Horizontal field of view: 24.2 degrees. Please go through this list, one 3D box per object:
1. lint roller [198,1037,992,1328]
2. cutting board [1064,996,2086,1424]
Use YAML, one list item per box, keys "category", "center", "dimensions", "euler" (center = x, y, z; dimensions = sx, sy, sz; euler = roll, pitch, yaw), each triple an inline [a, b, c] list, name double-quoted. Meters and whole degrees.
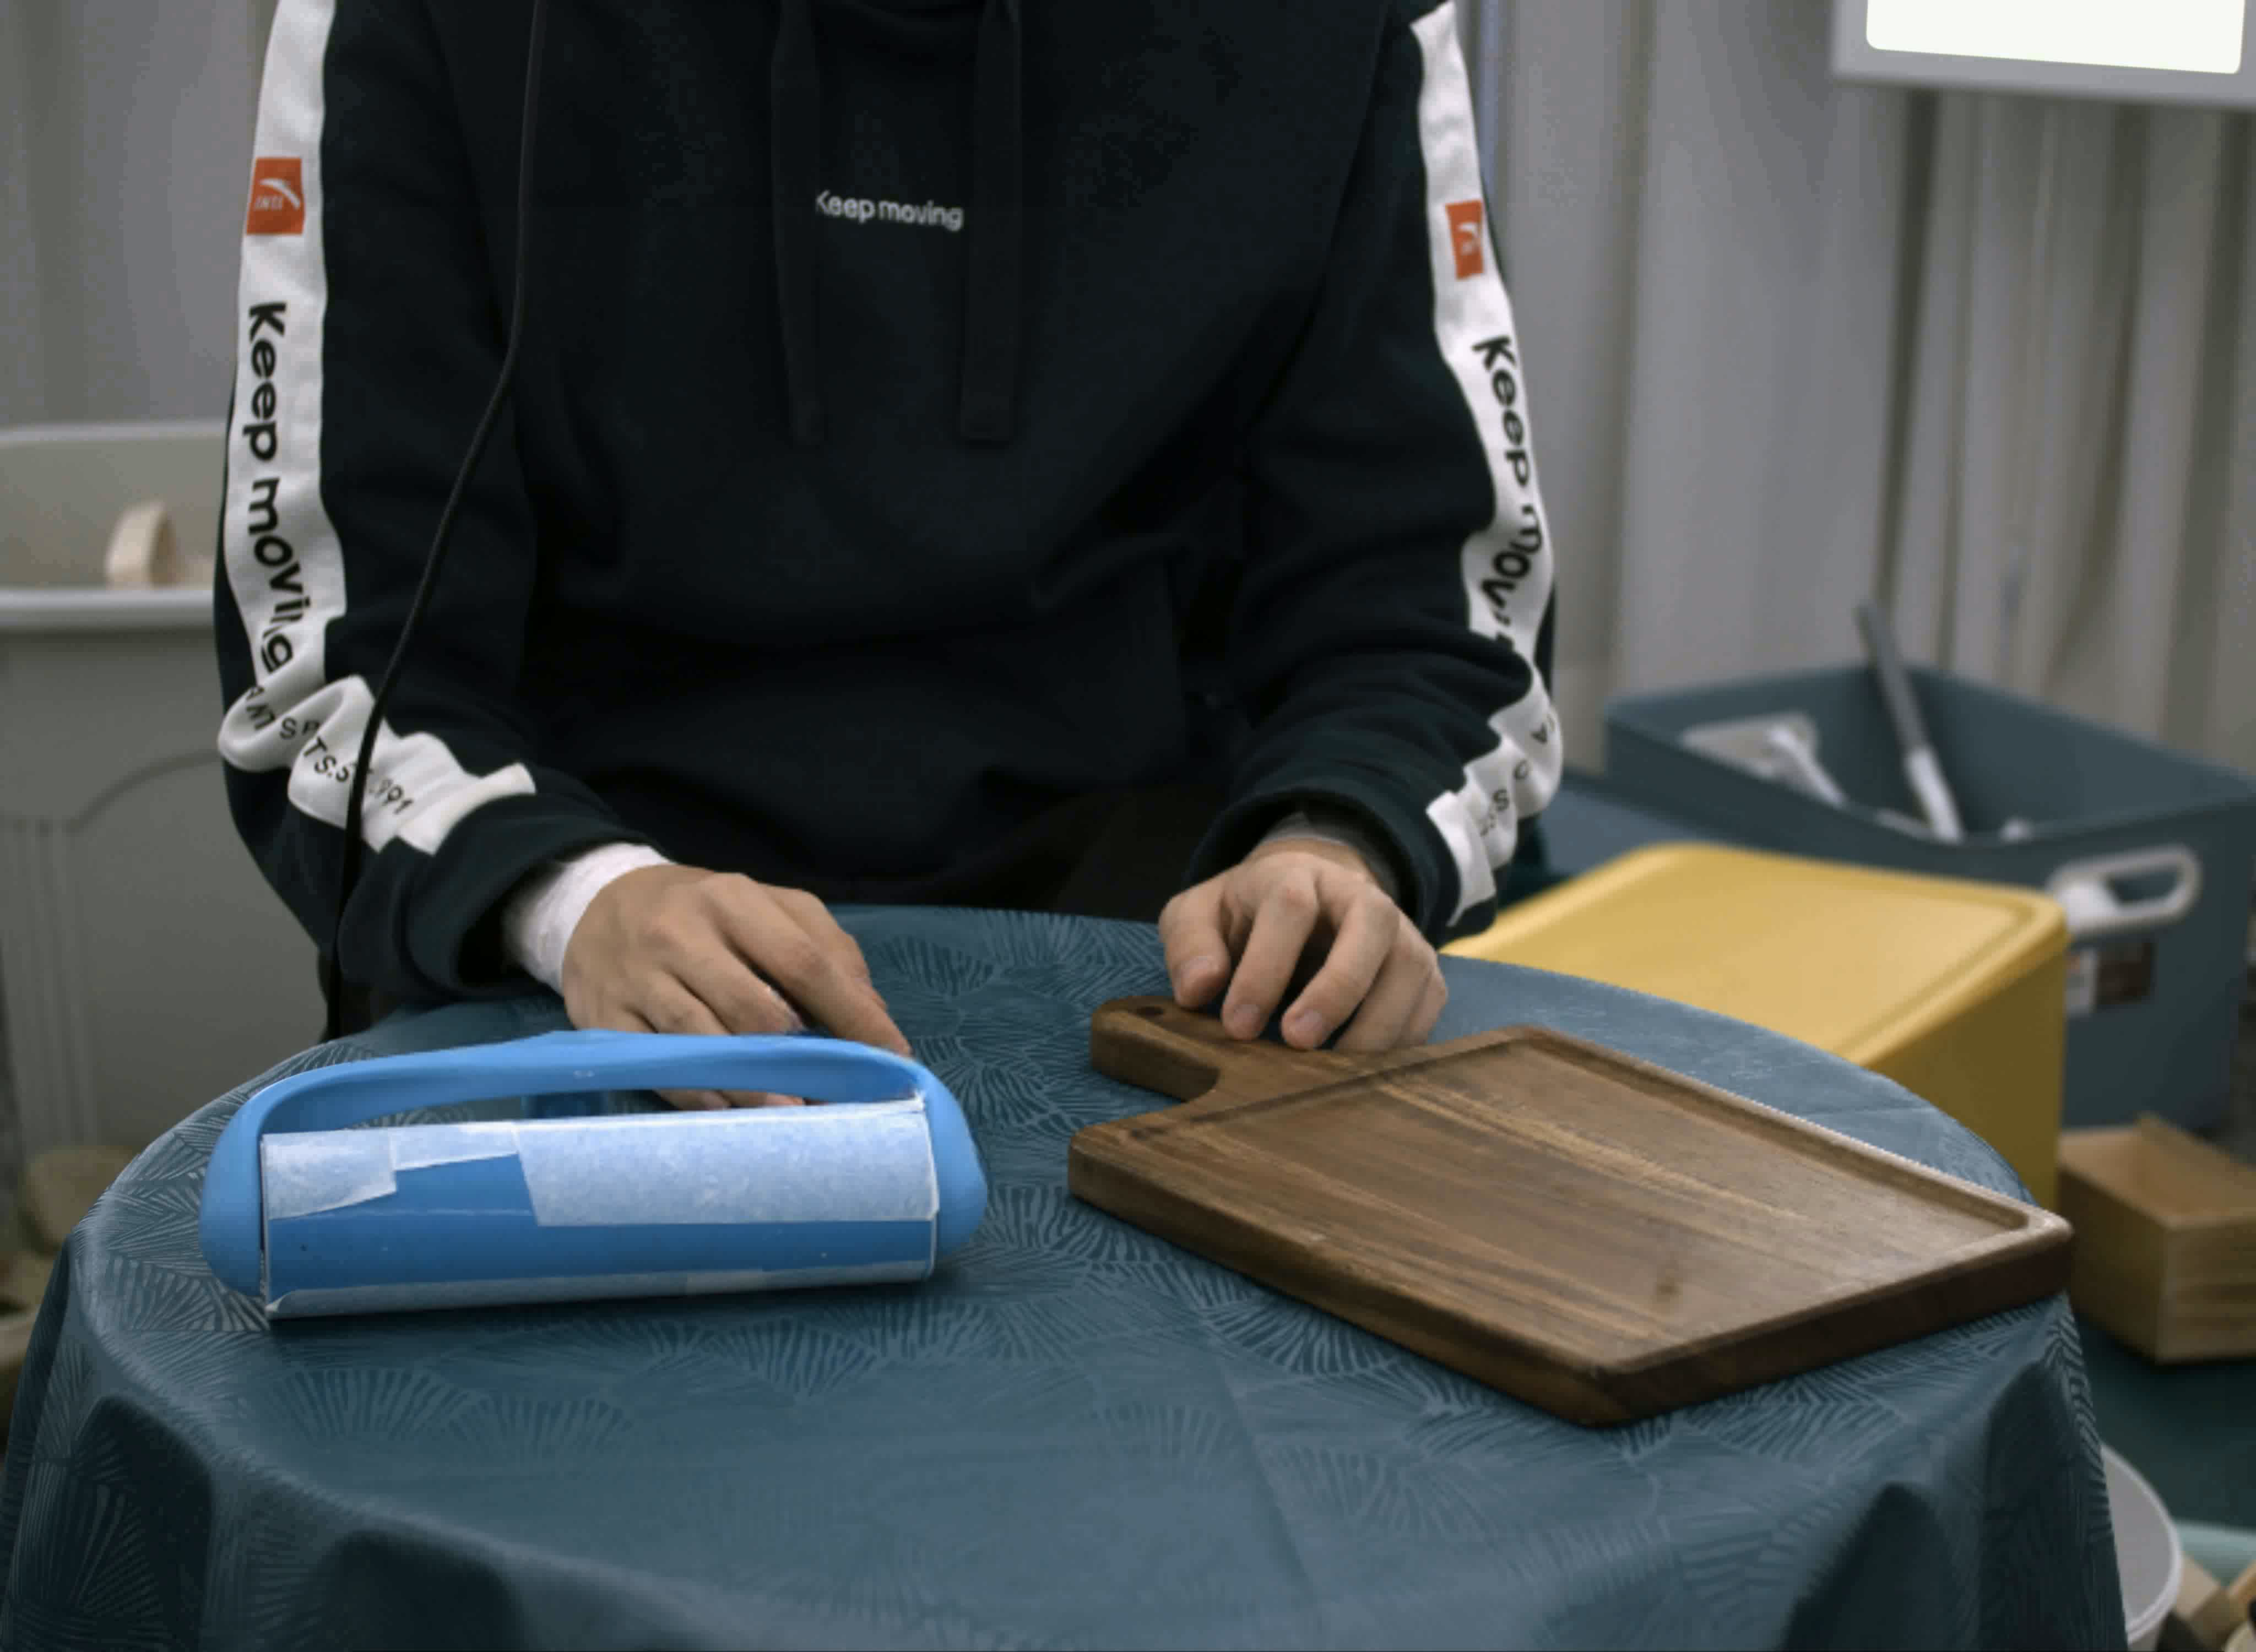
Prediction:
- category: "lint roller"
  center: [-0.165, 0.094, 1.574]
  dimensions: [0.229, 0.068, 0.178]
  euler: [-5, 17, -12]
- category: "cutting board"
  center: [0.101, 0.103, 1.614]
  dimensions: [0.202, 0.023, 0.347]
  euler: [-11, 19, -37]
